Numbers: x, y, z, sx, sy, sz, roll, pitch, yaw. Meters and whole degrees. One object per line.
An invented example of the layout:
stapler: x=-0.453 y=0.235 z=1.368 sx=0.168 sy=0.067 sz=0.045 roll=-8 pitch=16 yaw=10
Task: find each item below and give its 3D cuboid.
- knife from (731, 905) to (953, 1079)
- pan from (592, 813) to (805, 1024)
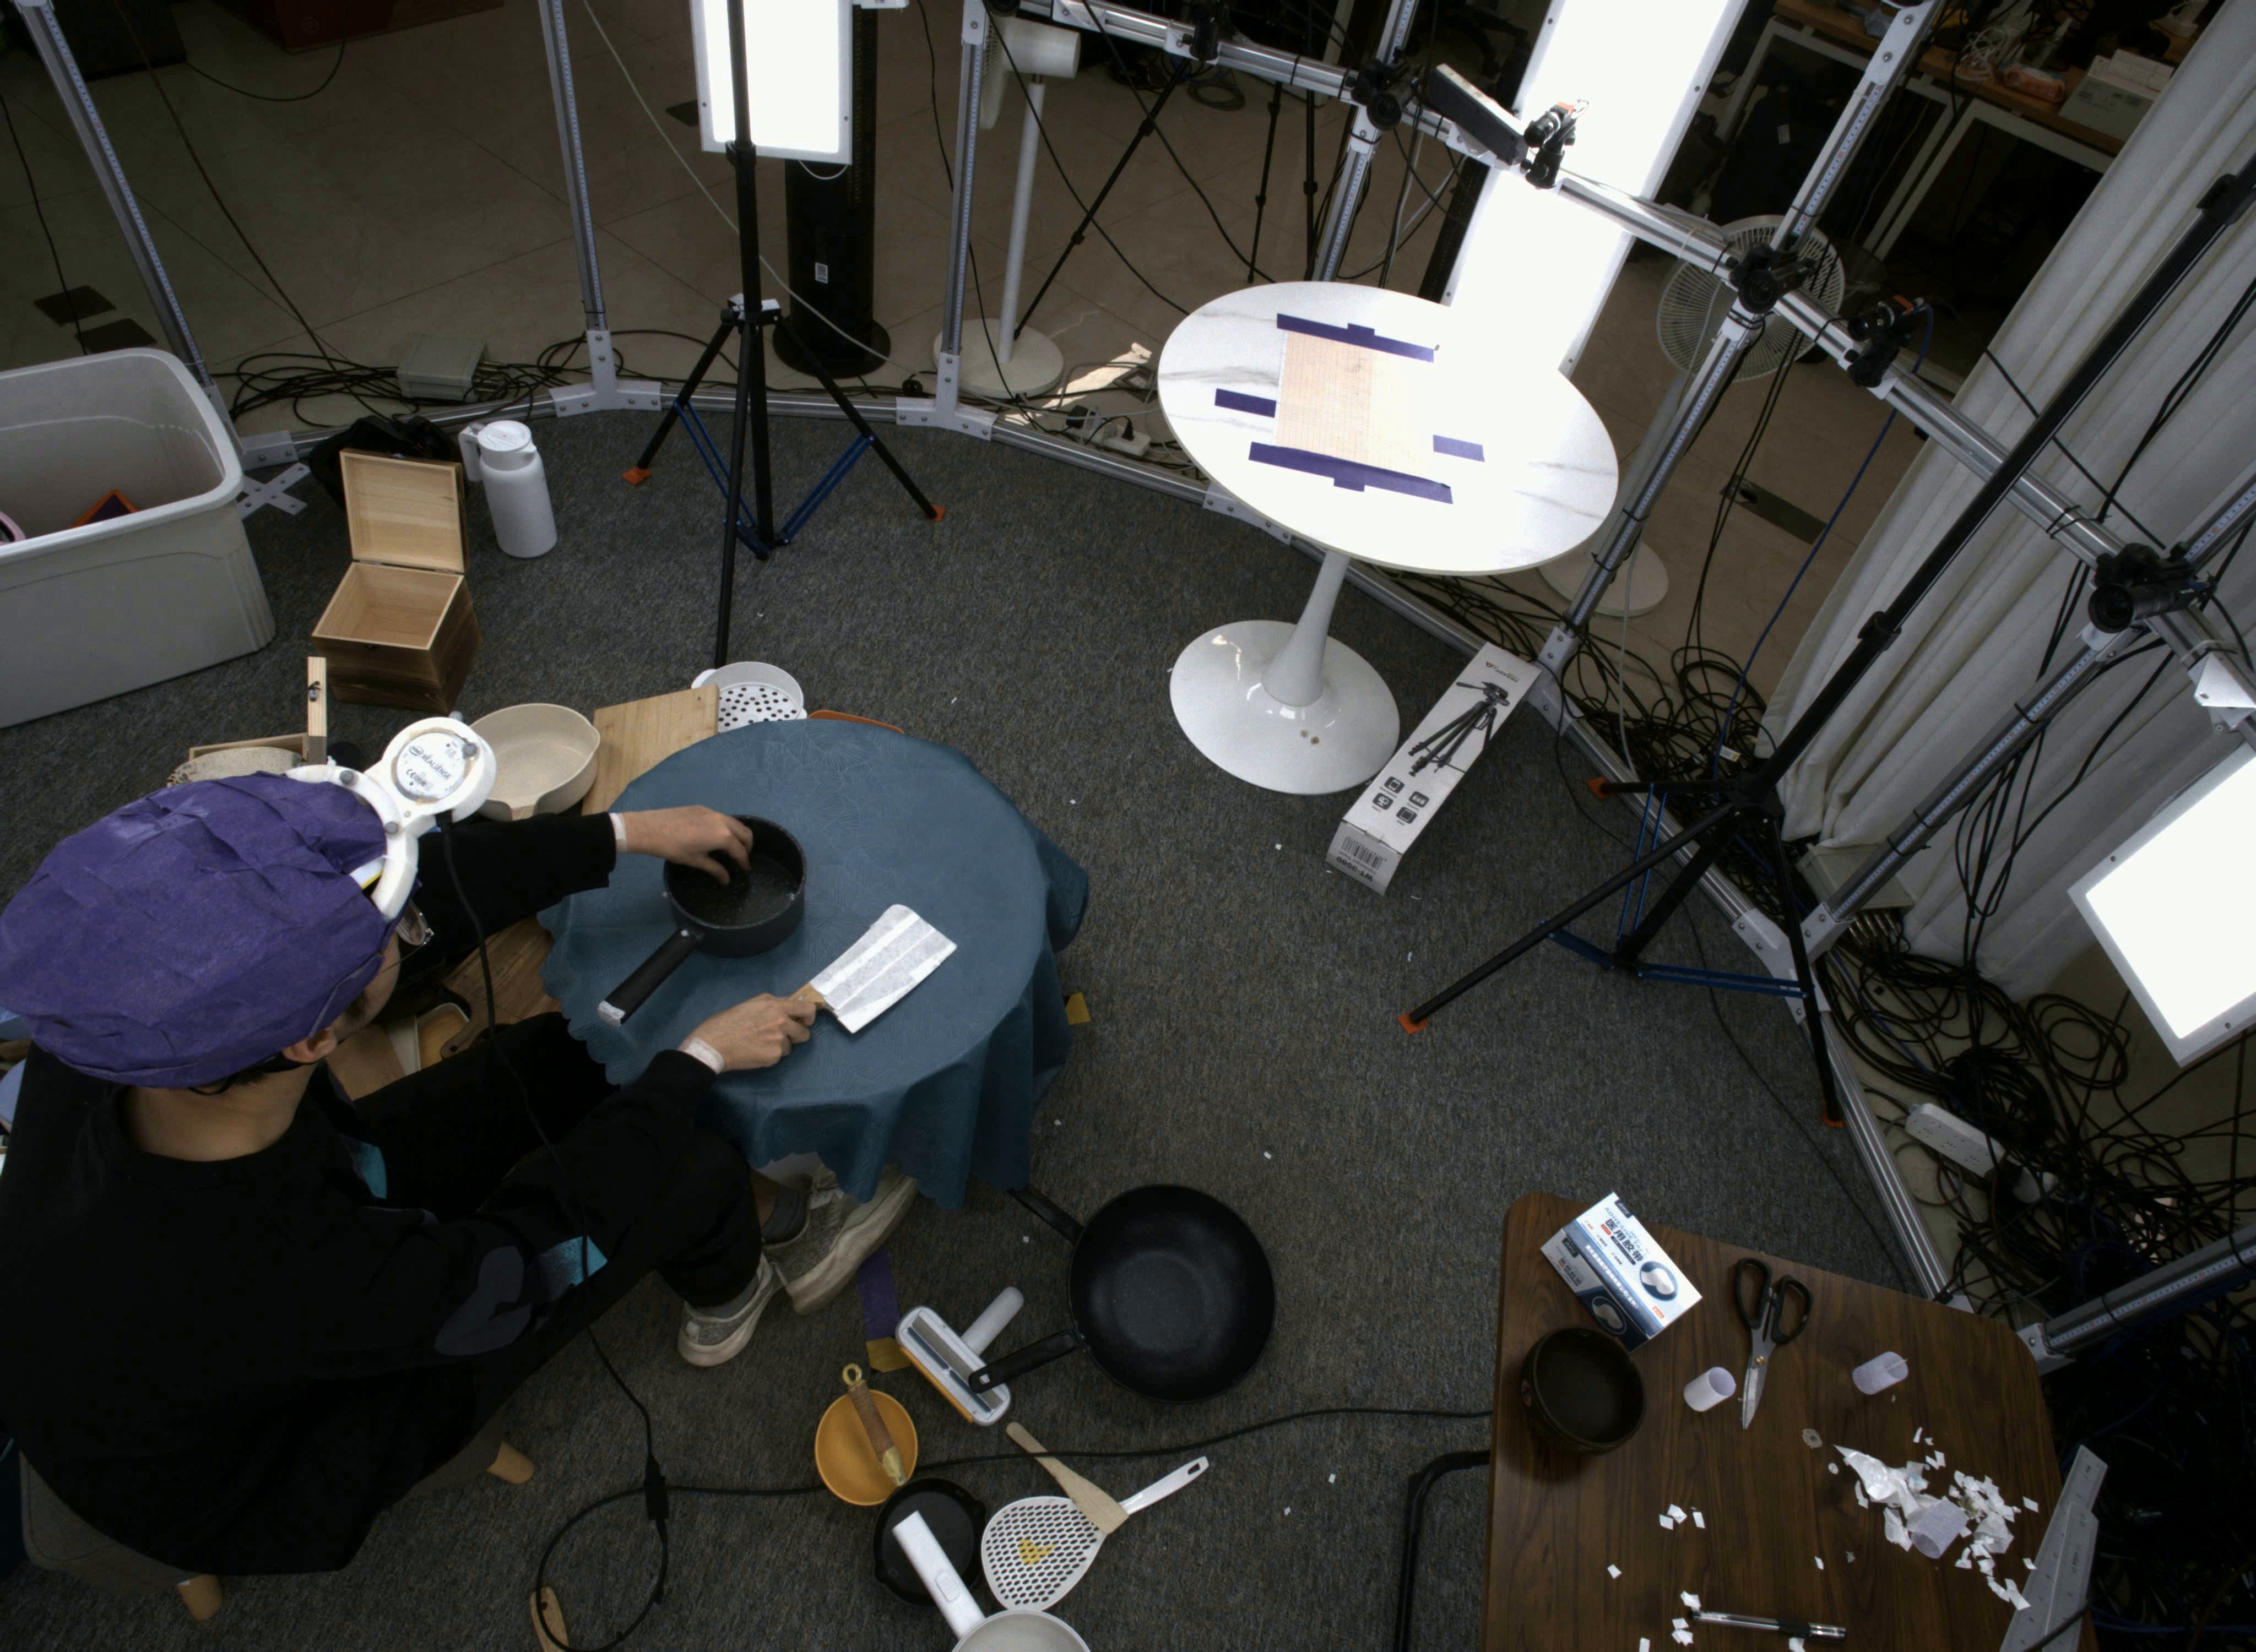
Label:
knife: x=-0.346 y=0.197 z=1.564 sx=0.112 sy=0.022 sz=0.316 roll=43 pitch=50 yaw=11
pan: x=-0.518 y=0.124 z=1.541 sx=0.169 sy=0.088 sz=0.327 roll=27 pitch=51 yaw=9
